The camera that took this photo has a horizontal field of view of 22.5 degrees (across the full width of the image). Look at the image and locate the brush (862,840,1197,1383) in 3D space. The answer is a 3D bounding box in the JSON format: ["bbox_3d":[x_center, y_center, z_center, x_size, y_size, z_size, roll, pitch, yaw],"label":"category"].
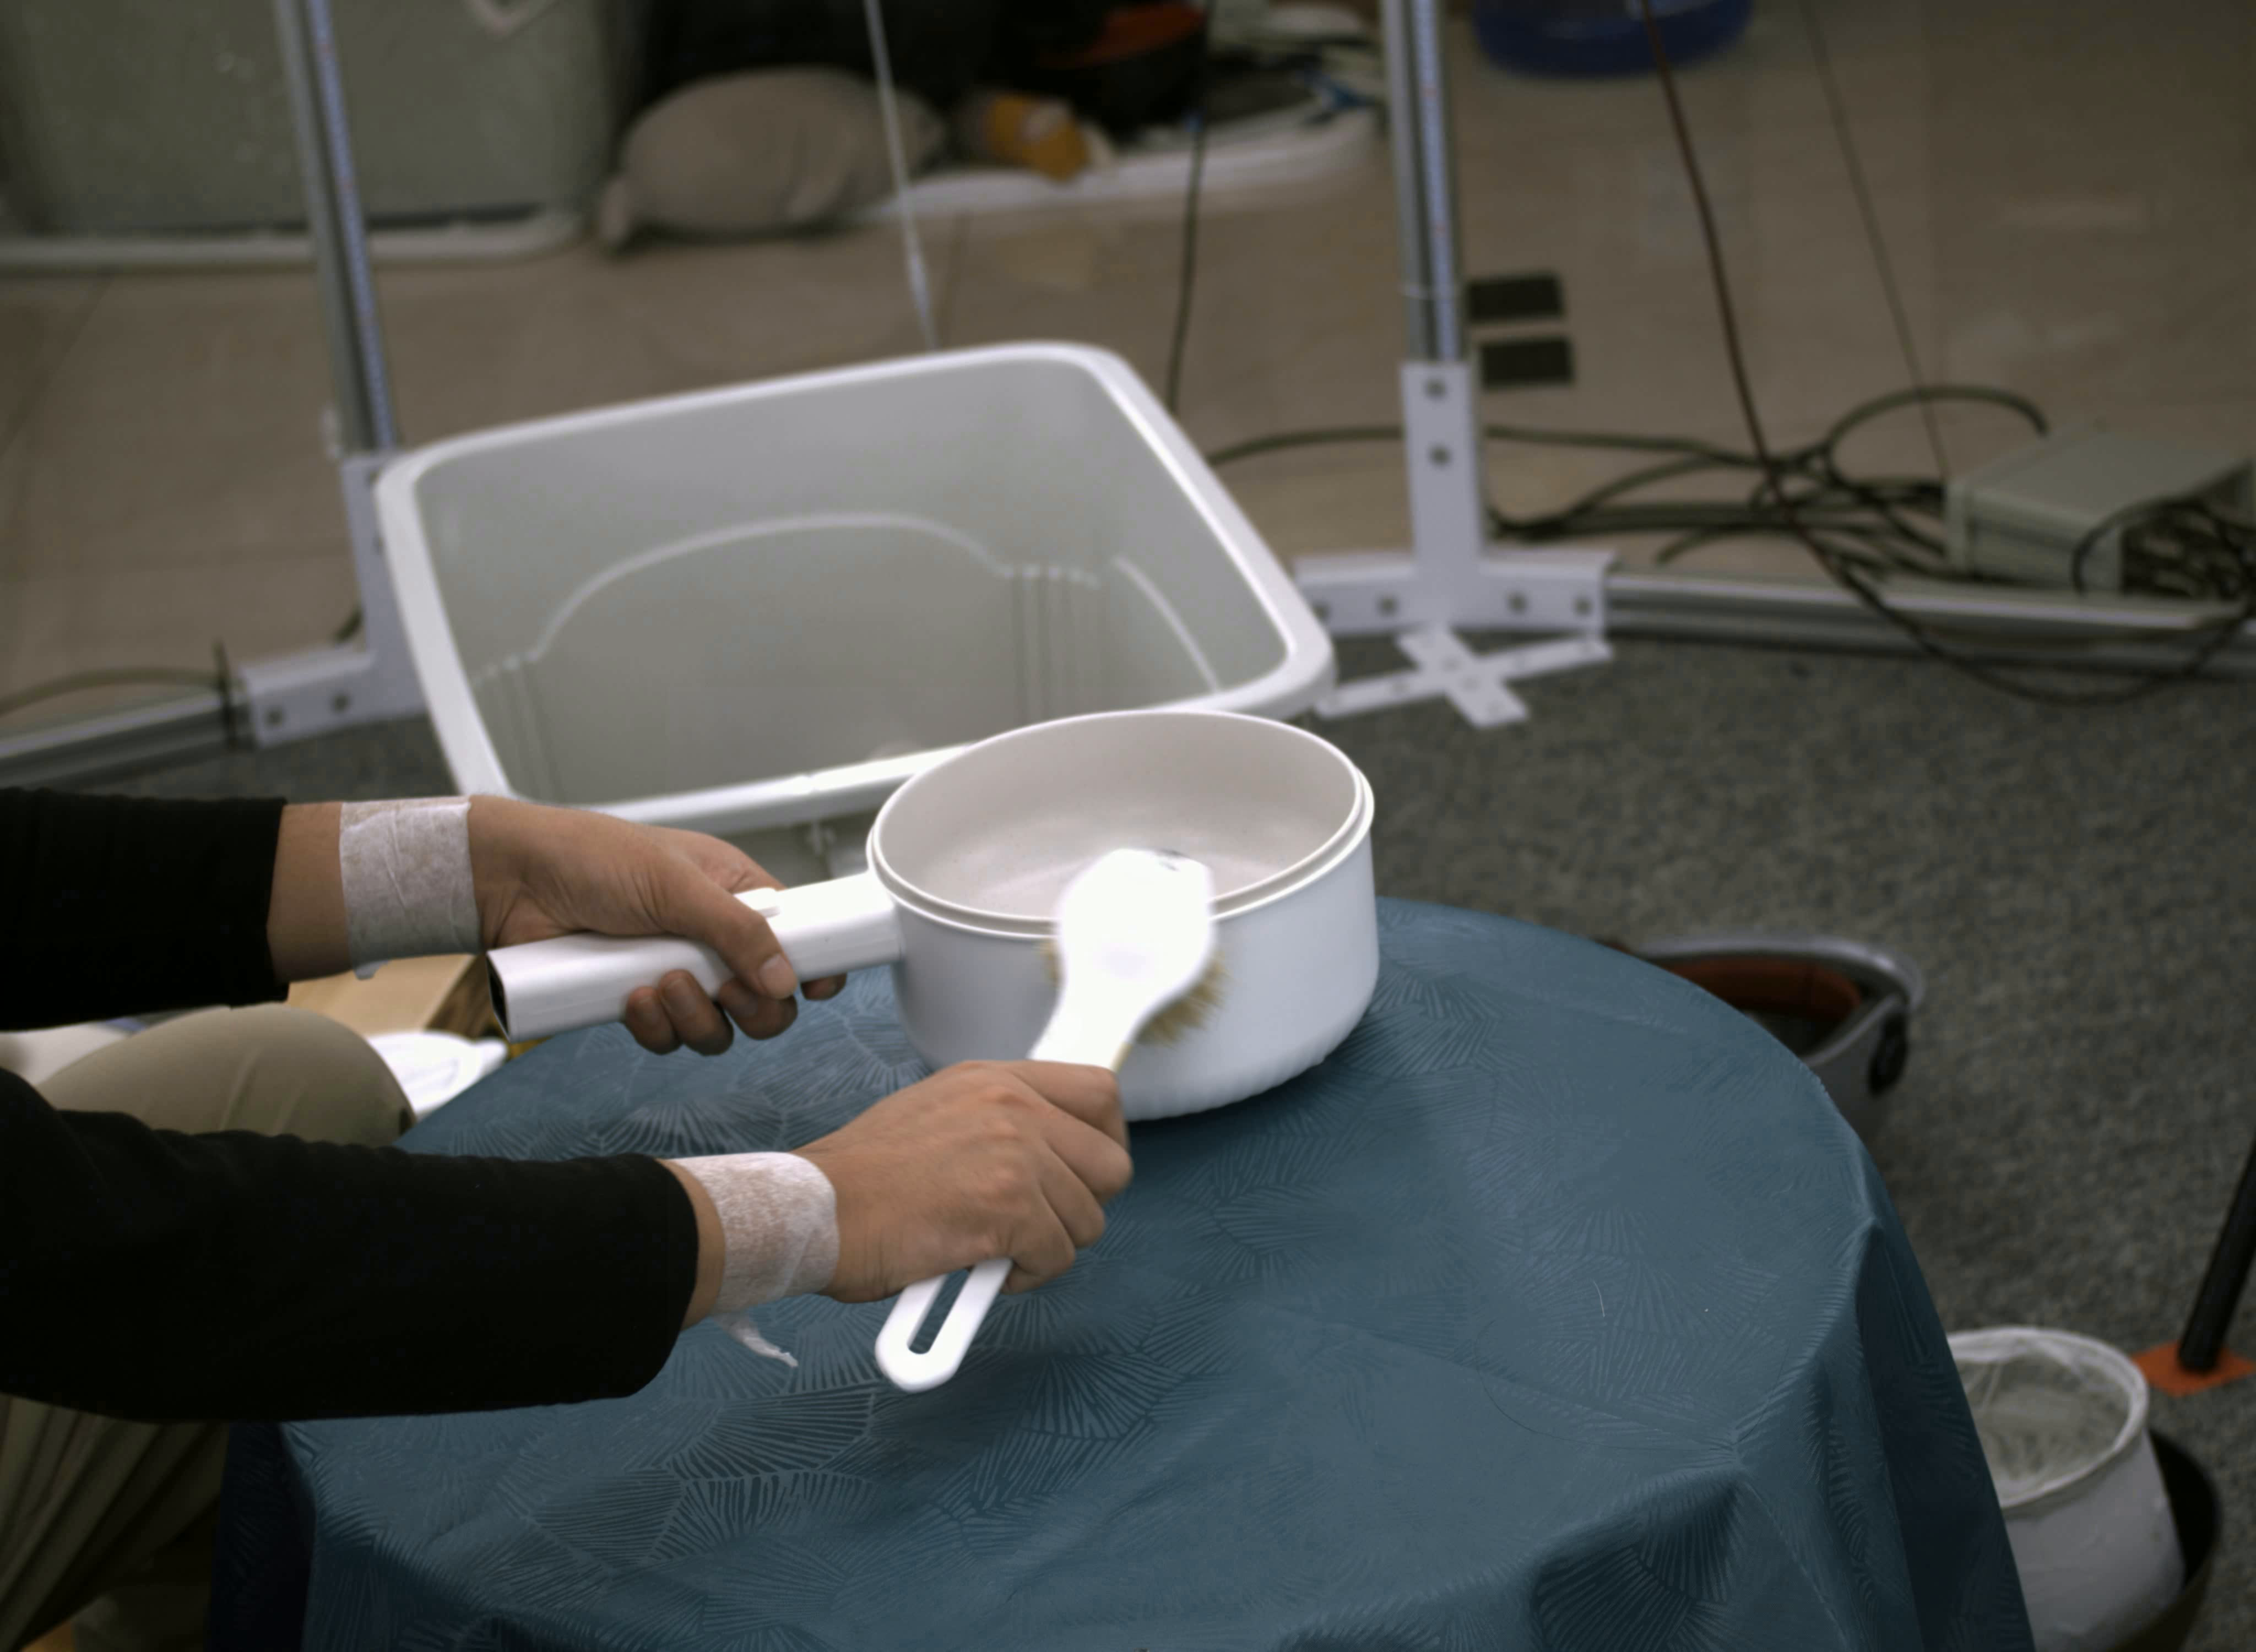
[{"bbox_3d":[-0.041,0.112,2.043,0.068,0.057,0.262,11,49,14],"label":"brush"}]

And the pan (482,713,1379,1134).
[{"bbox_3d":[-0.072,0.059,2.223,0.353,0.104,0.198,-14,27,-13],"label":"pan"}]
